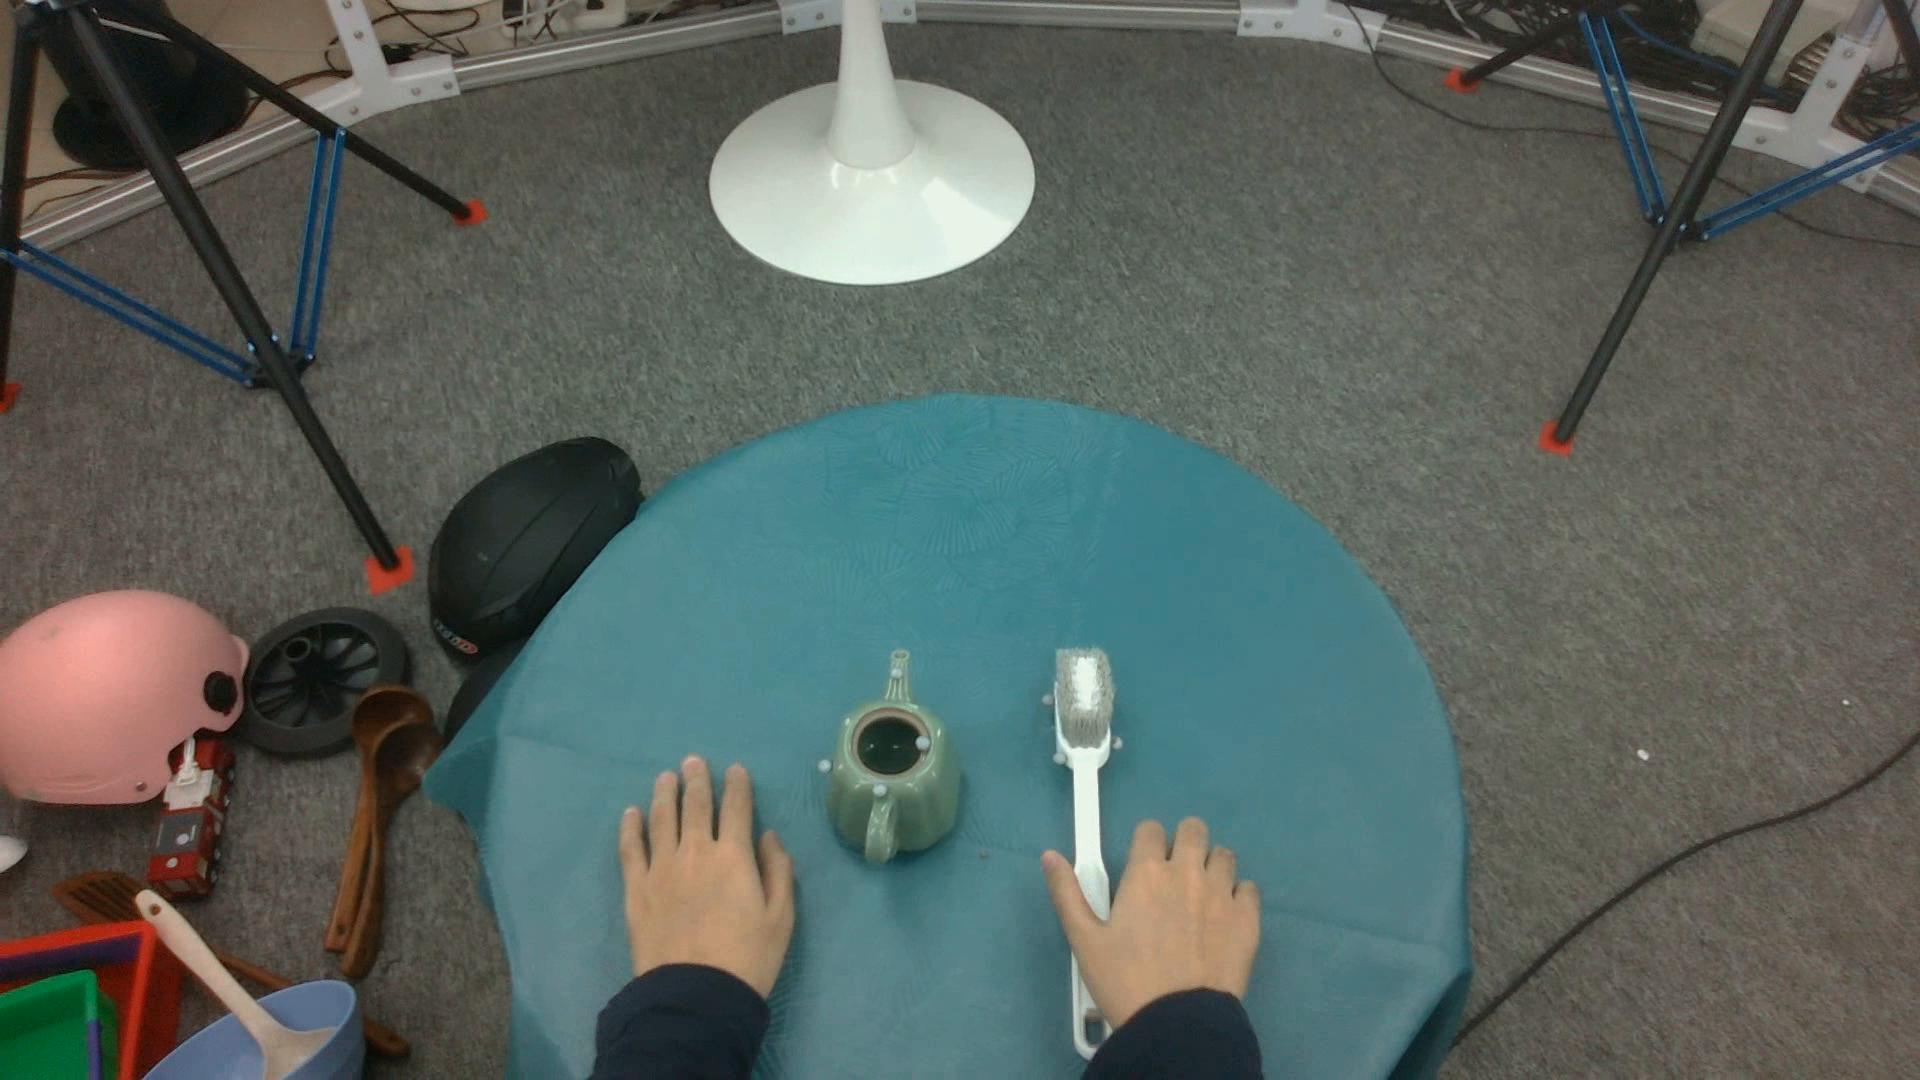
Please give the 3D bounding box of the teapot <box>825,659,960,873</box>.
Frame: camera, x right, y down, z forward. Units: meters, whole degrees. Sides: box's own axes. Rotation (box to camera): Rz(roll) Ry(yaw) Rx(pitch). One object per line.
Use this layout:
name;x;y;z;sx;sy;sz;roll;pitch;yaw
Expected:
teapot;-0.041;0.143;0.820;0.080;0.075;0.133;3;53;3

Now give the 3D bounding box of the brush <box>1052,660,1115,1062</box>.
brush;0.072;0.177;0.810;0.034;0.050;0.245;6;52;-1
